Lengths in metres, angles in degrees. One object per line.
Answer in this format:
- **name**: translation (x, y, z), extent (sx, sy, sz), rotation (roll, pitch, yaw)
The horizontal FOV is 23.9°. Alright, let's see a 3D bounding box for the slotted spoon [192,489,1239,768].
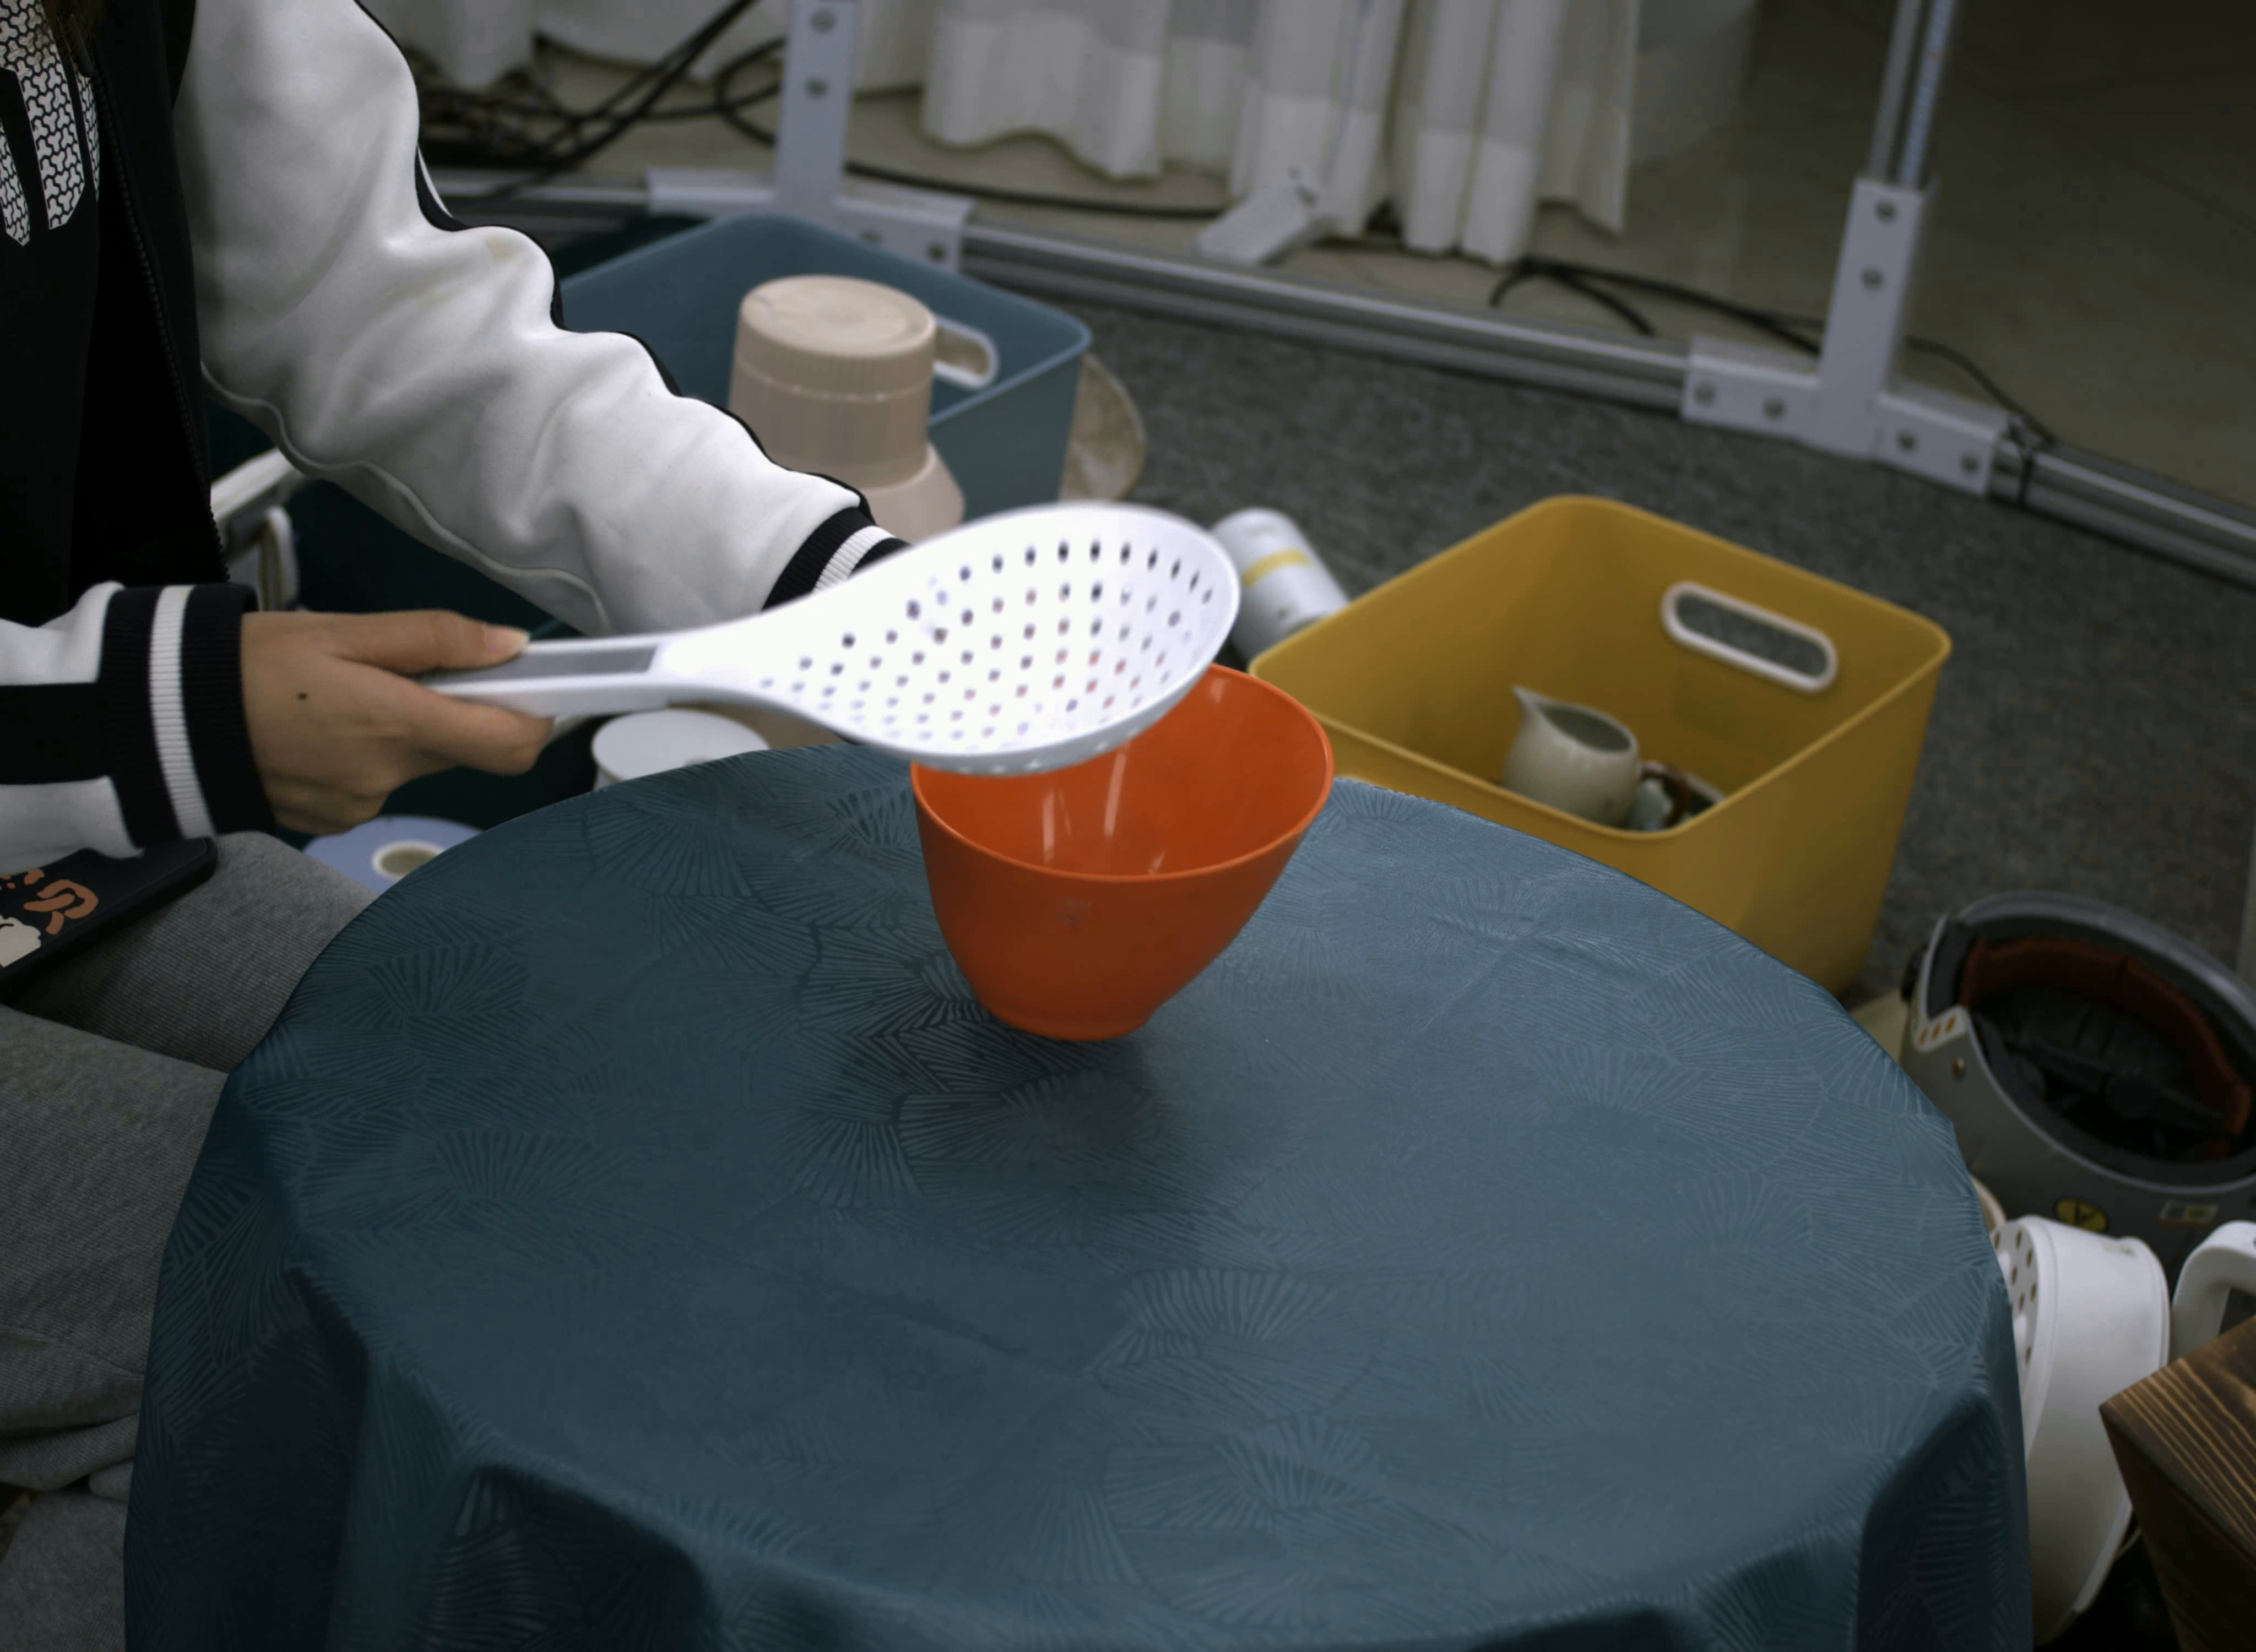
- **slotted spoon**: translation (-0.135, -0.054, 1.700), extent (0.350, 0.045, 0.137), rotation (0, 39, 12)

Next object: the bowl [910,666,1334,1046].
- **bowl**: translation (-0.007, 0.015, 1.878), extent (0.147, 0.104, 0.149), rotation (7, 29, -4)
